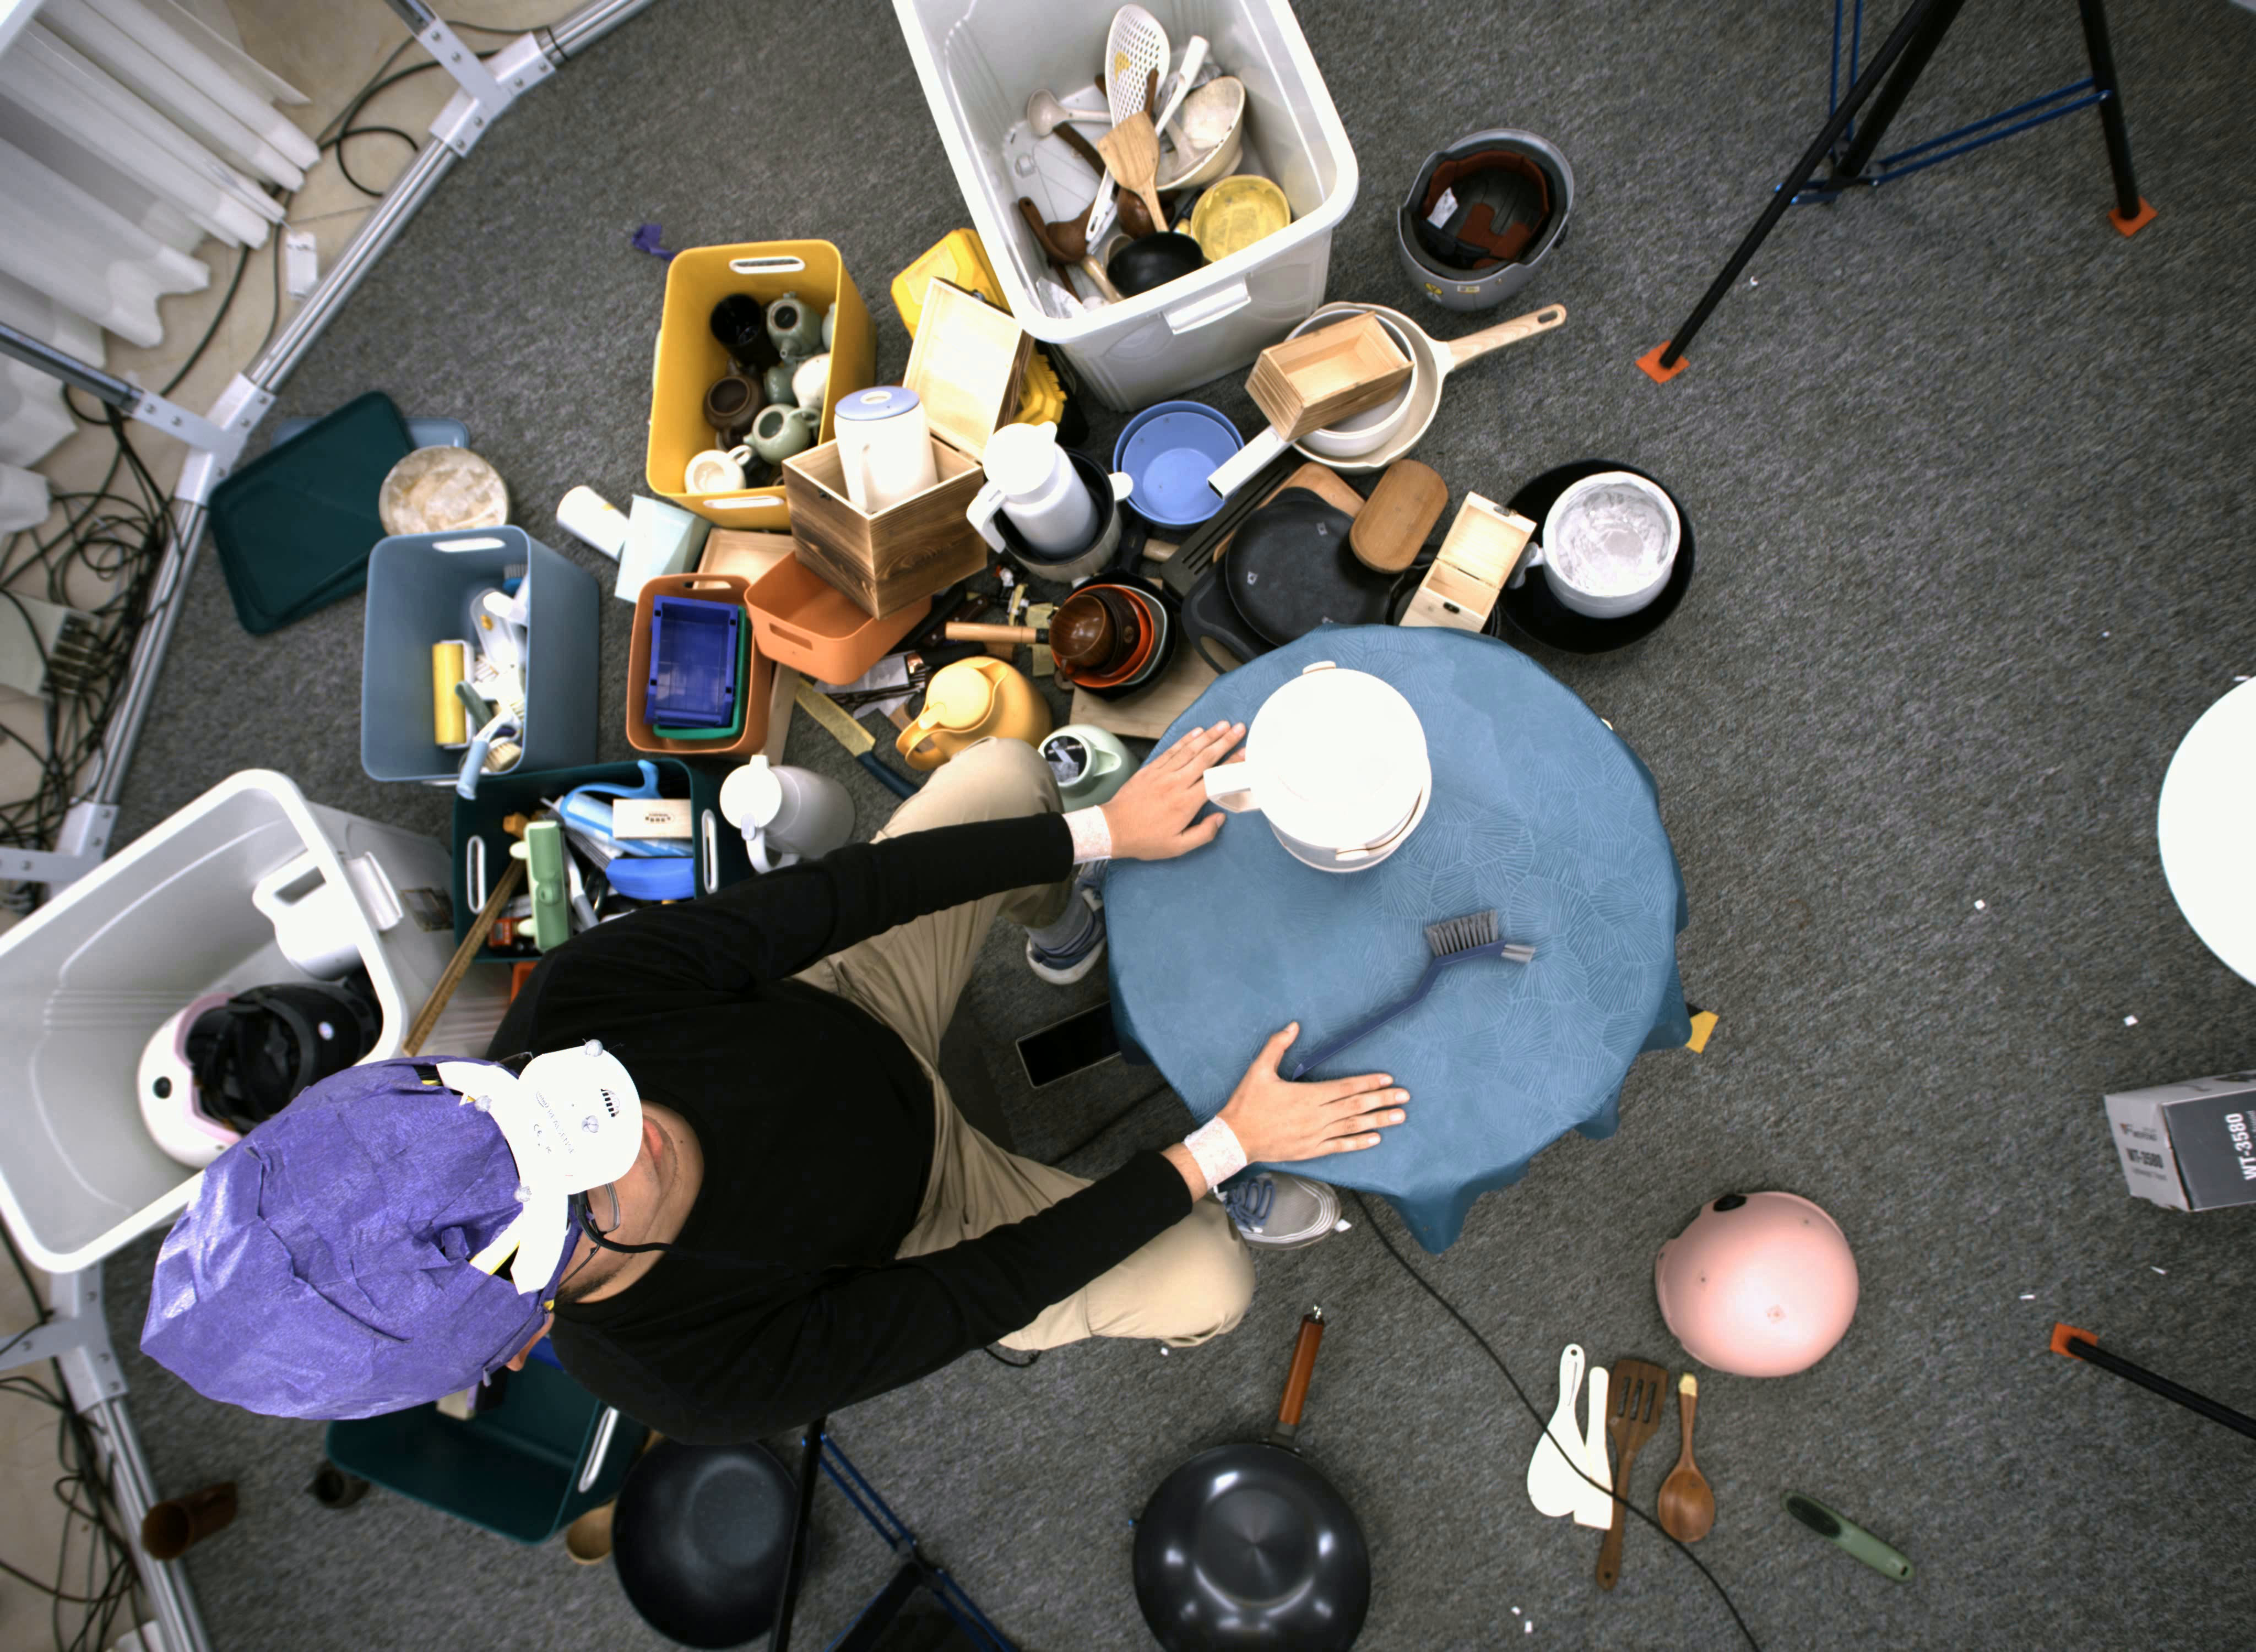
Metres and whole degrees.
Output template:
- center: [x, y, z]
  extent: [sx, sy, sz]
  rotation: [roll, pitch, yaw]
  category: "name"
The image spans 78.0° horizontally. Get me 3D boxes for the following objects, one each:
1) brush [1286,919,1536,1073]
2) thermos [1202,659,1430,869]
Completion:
- center: [0.288, 0.190, 1.433]
  extent: [0.274, 0.033, 0.095]
  rotation: [-40, 80, 4]
  category: "brush"
- center: [0.179, -0.051, 1.283]
  extent: [0.208, 0.406, 0.174]
  rotation: [-11, 84, 8]
  category: "thermos"
